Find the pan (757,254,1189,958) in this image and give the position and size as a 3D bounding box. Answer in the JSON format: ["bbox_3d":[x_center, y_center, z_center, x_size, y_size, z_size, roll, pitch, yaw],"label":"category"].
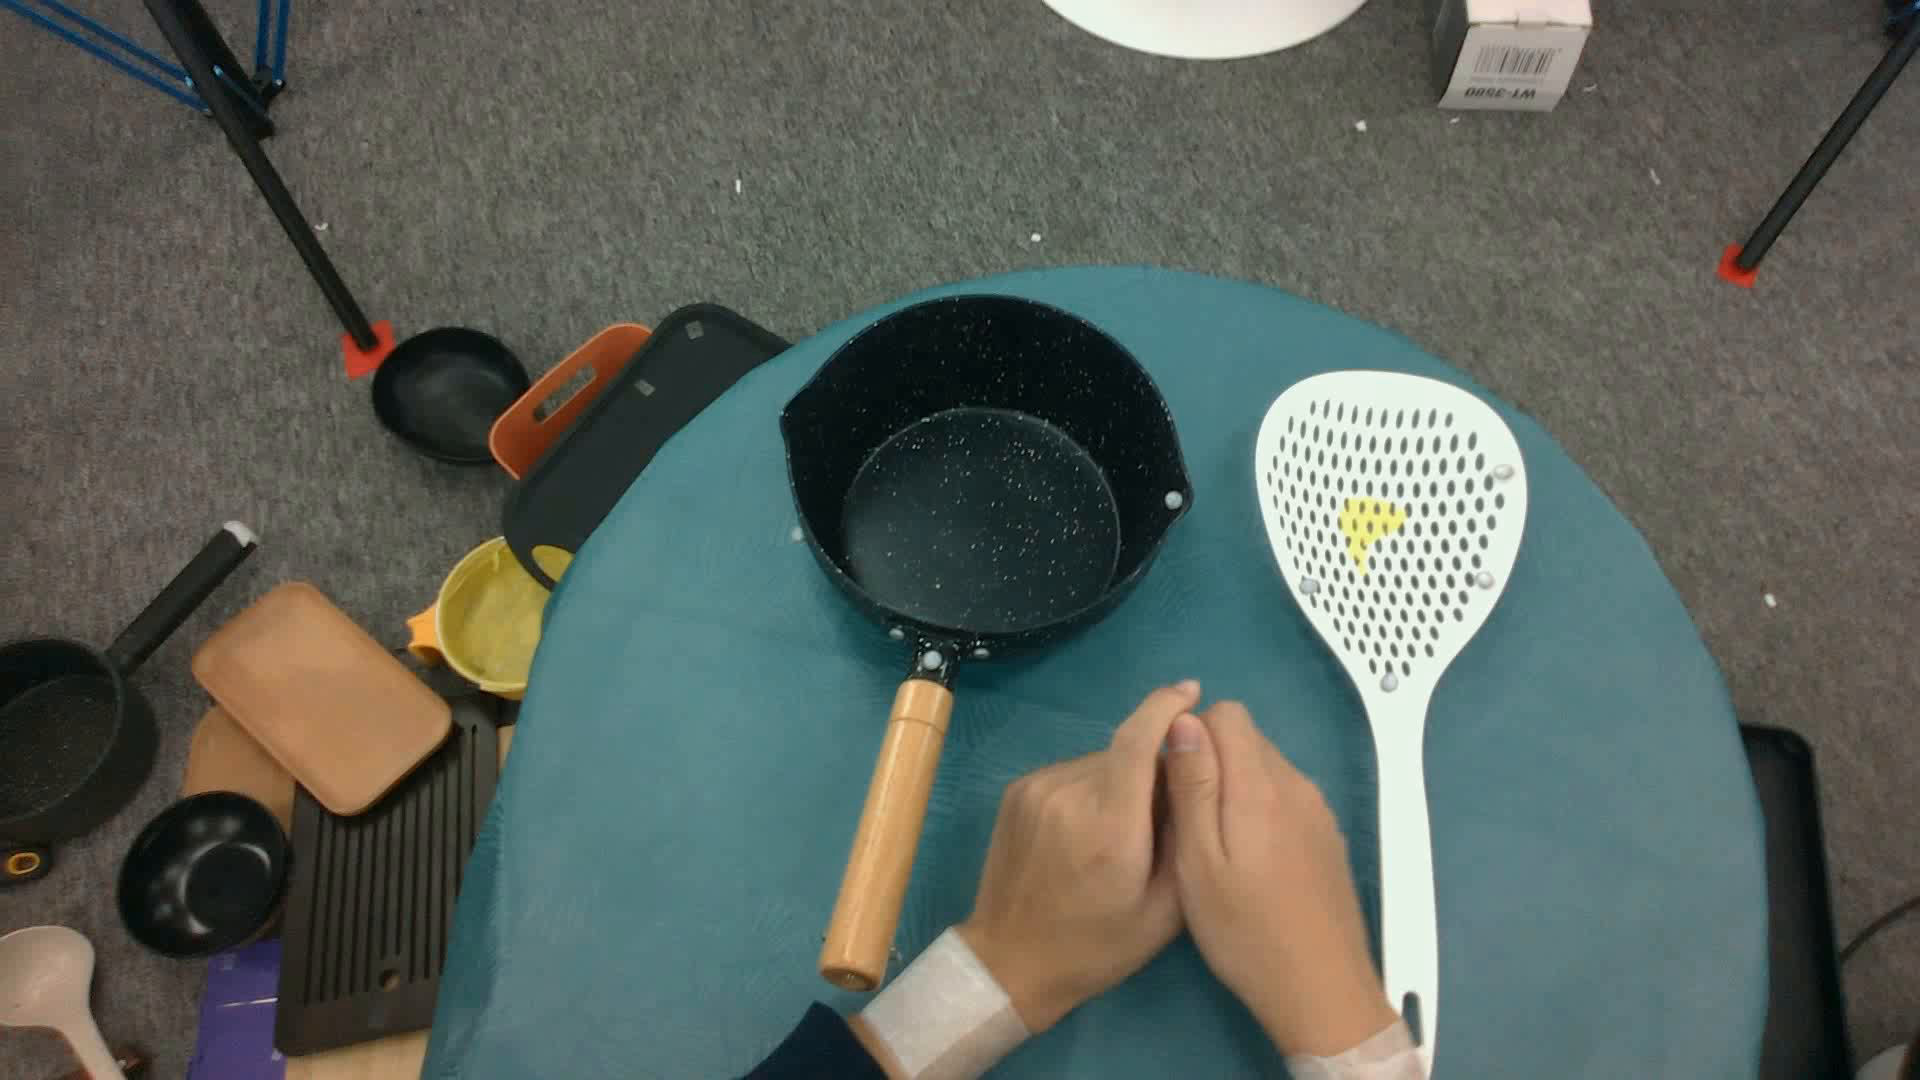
[{"bbox_3d":[-0.009,0.026,0.634,0.207,0.108,0.344,11,64,3],"label":"pan"}]

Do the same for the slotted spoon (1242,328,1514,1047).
[{"bbox_3d":[0.204,0.055,0.659,0.137,0.050,0.349,3,63,-1],"label":"slotted spoon"}]
